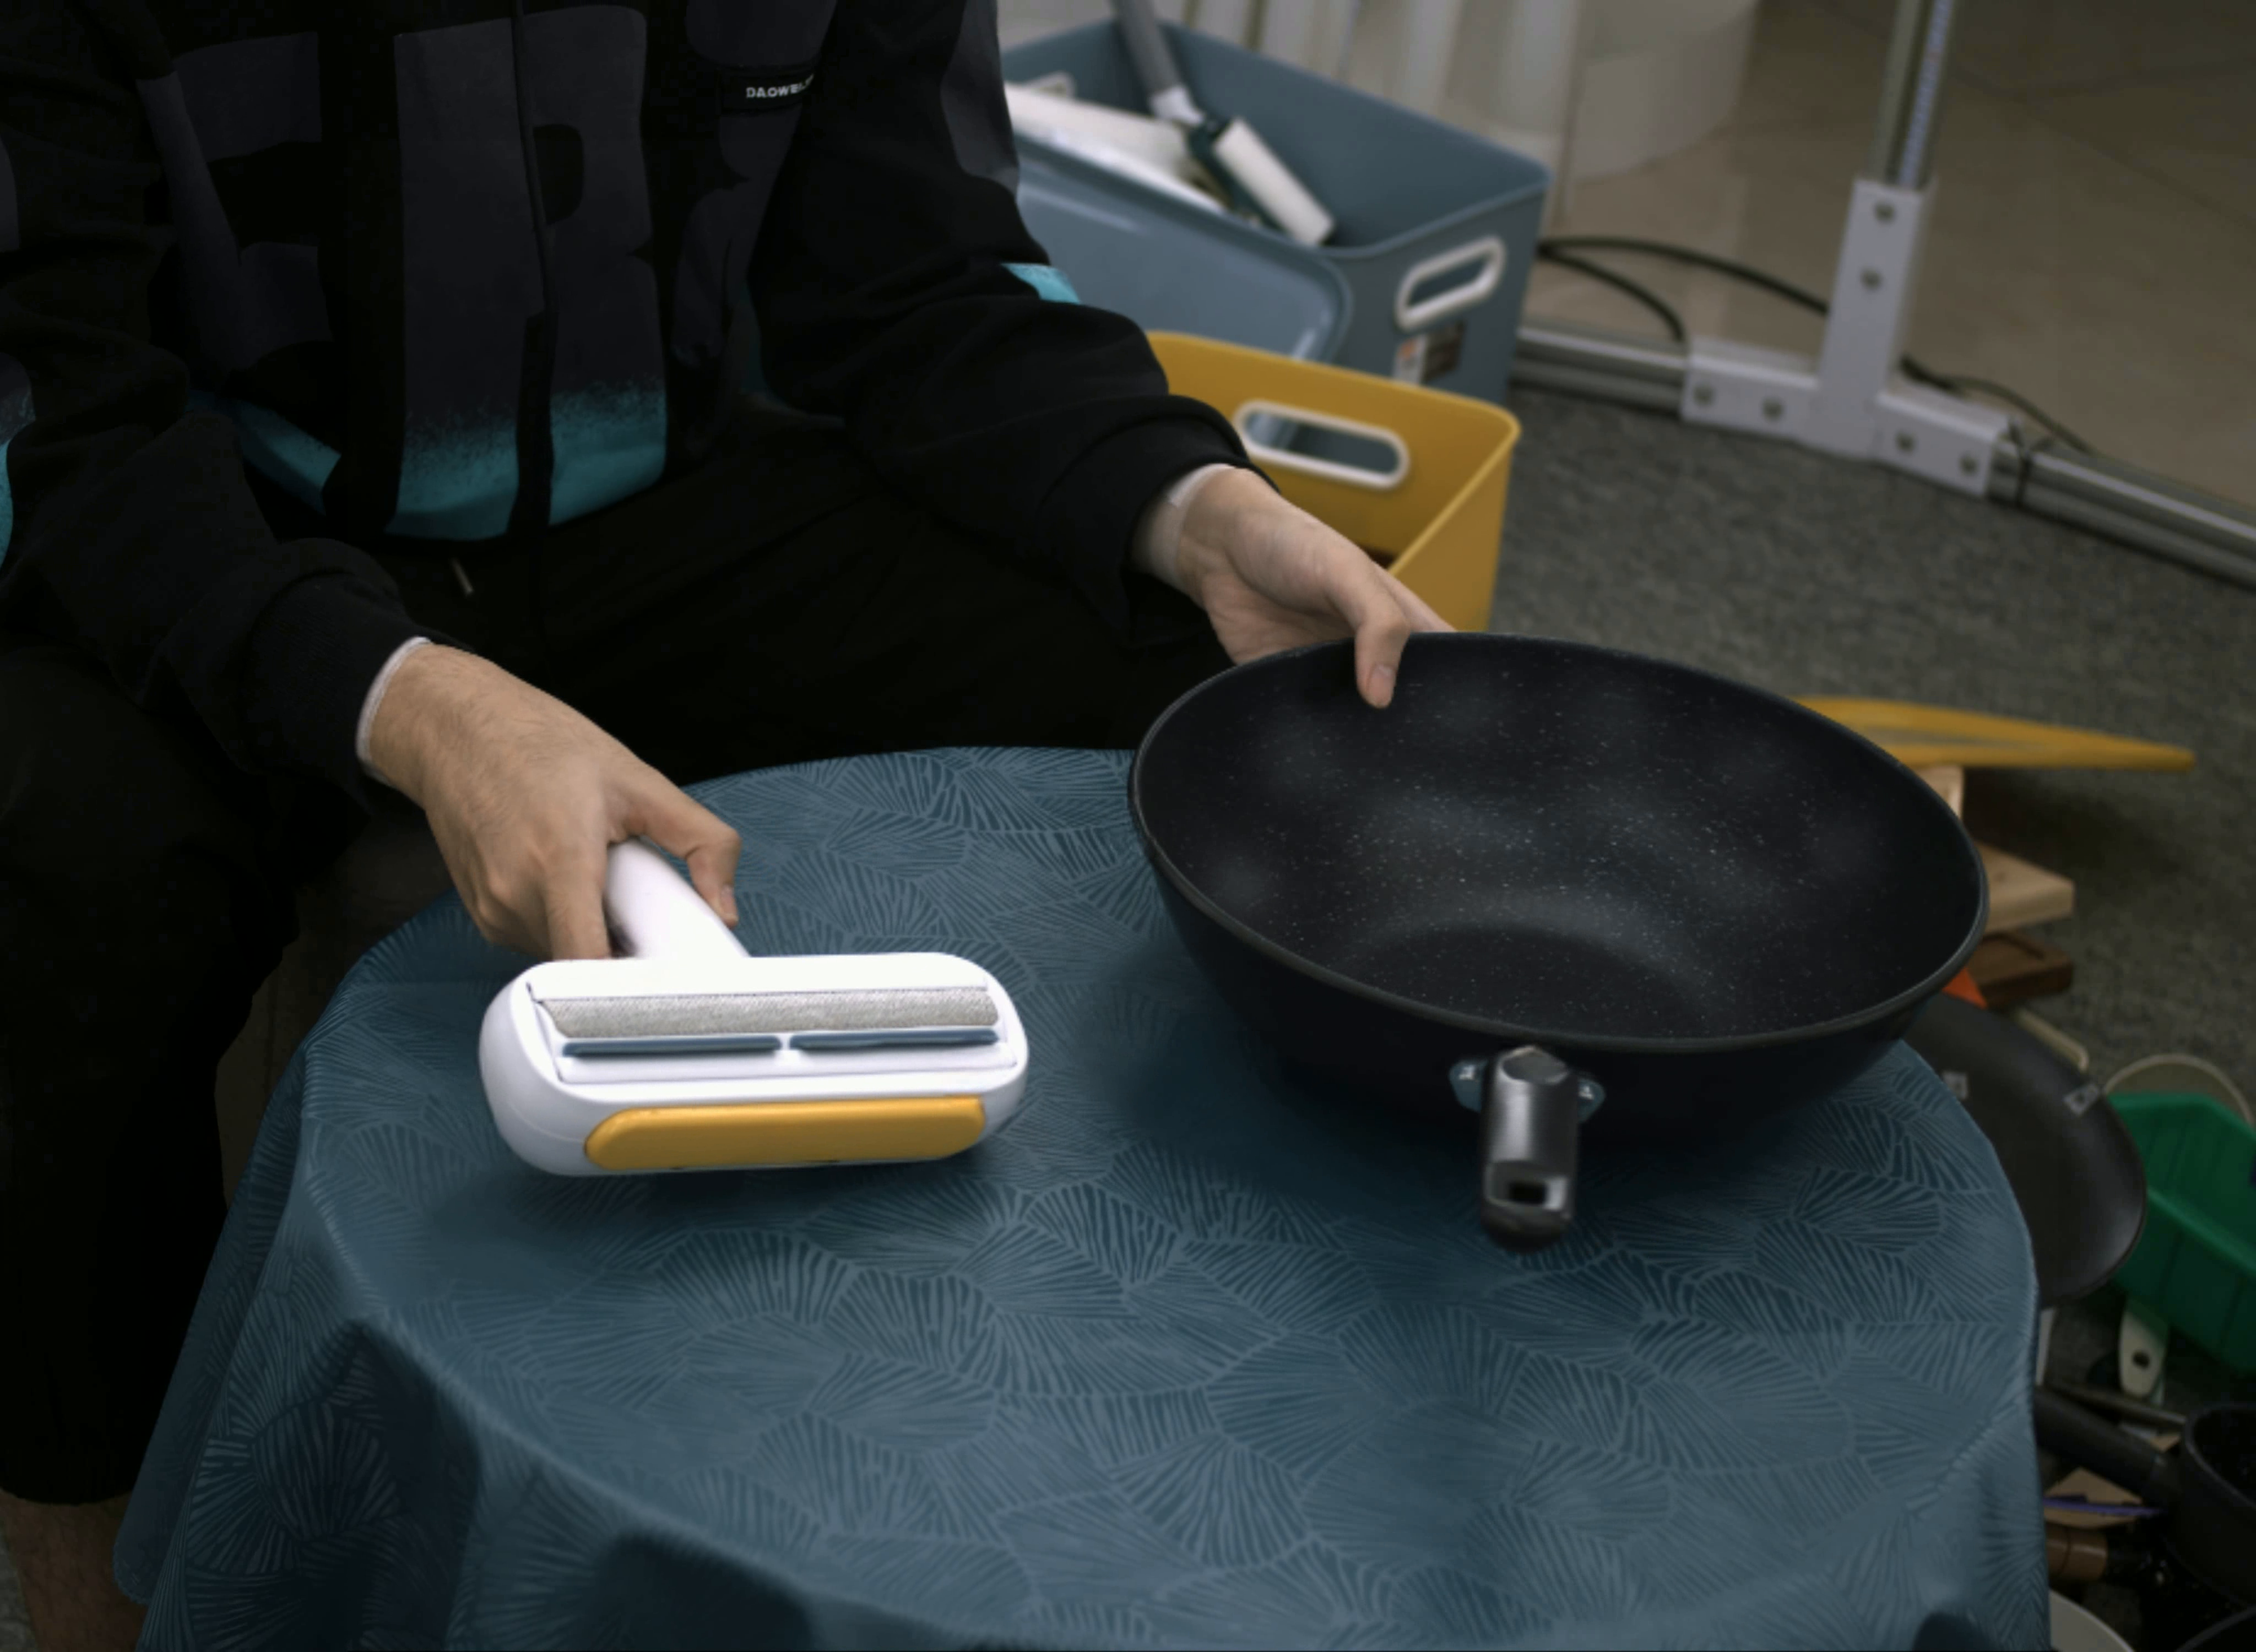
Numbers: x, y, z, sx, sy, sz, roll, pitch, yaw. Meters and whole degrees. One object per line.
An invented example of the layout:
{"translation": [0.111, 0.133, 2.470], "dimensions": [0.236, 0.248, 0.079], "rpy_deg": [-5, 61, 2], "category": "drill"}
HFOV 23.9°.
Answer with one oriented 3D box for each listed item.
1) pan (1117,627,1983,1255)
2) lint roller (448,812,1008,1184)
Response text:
{"translation": [0.140, 0.061, 1.835], "dimensions": [0.309, 0.111, 0.479], "rpy_deg": [6, 27, 3], "category": "pan"}
{"translation": [-0.152, 0.047, 1.813], "dimensions": [0.191, 0.074, 0.194], "rpy_deg": [-2, 41, -24], "category": "lint roller"}
